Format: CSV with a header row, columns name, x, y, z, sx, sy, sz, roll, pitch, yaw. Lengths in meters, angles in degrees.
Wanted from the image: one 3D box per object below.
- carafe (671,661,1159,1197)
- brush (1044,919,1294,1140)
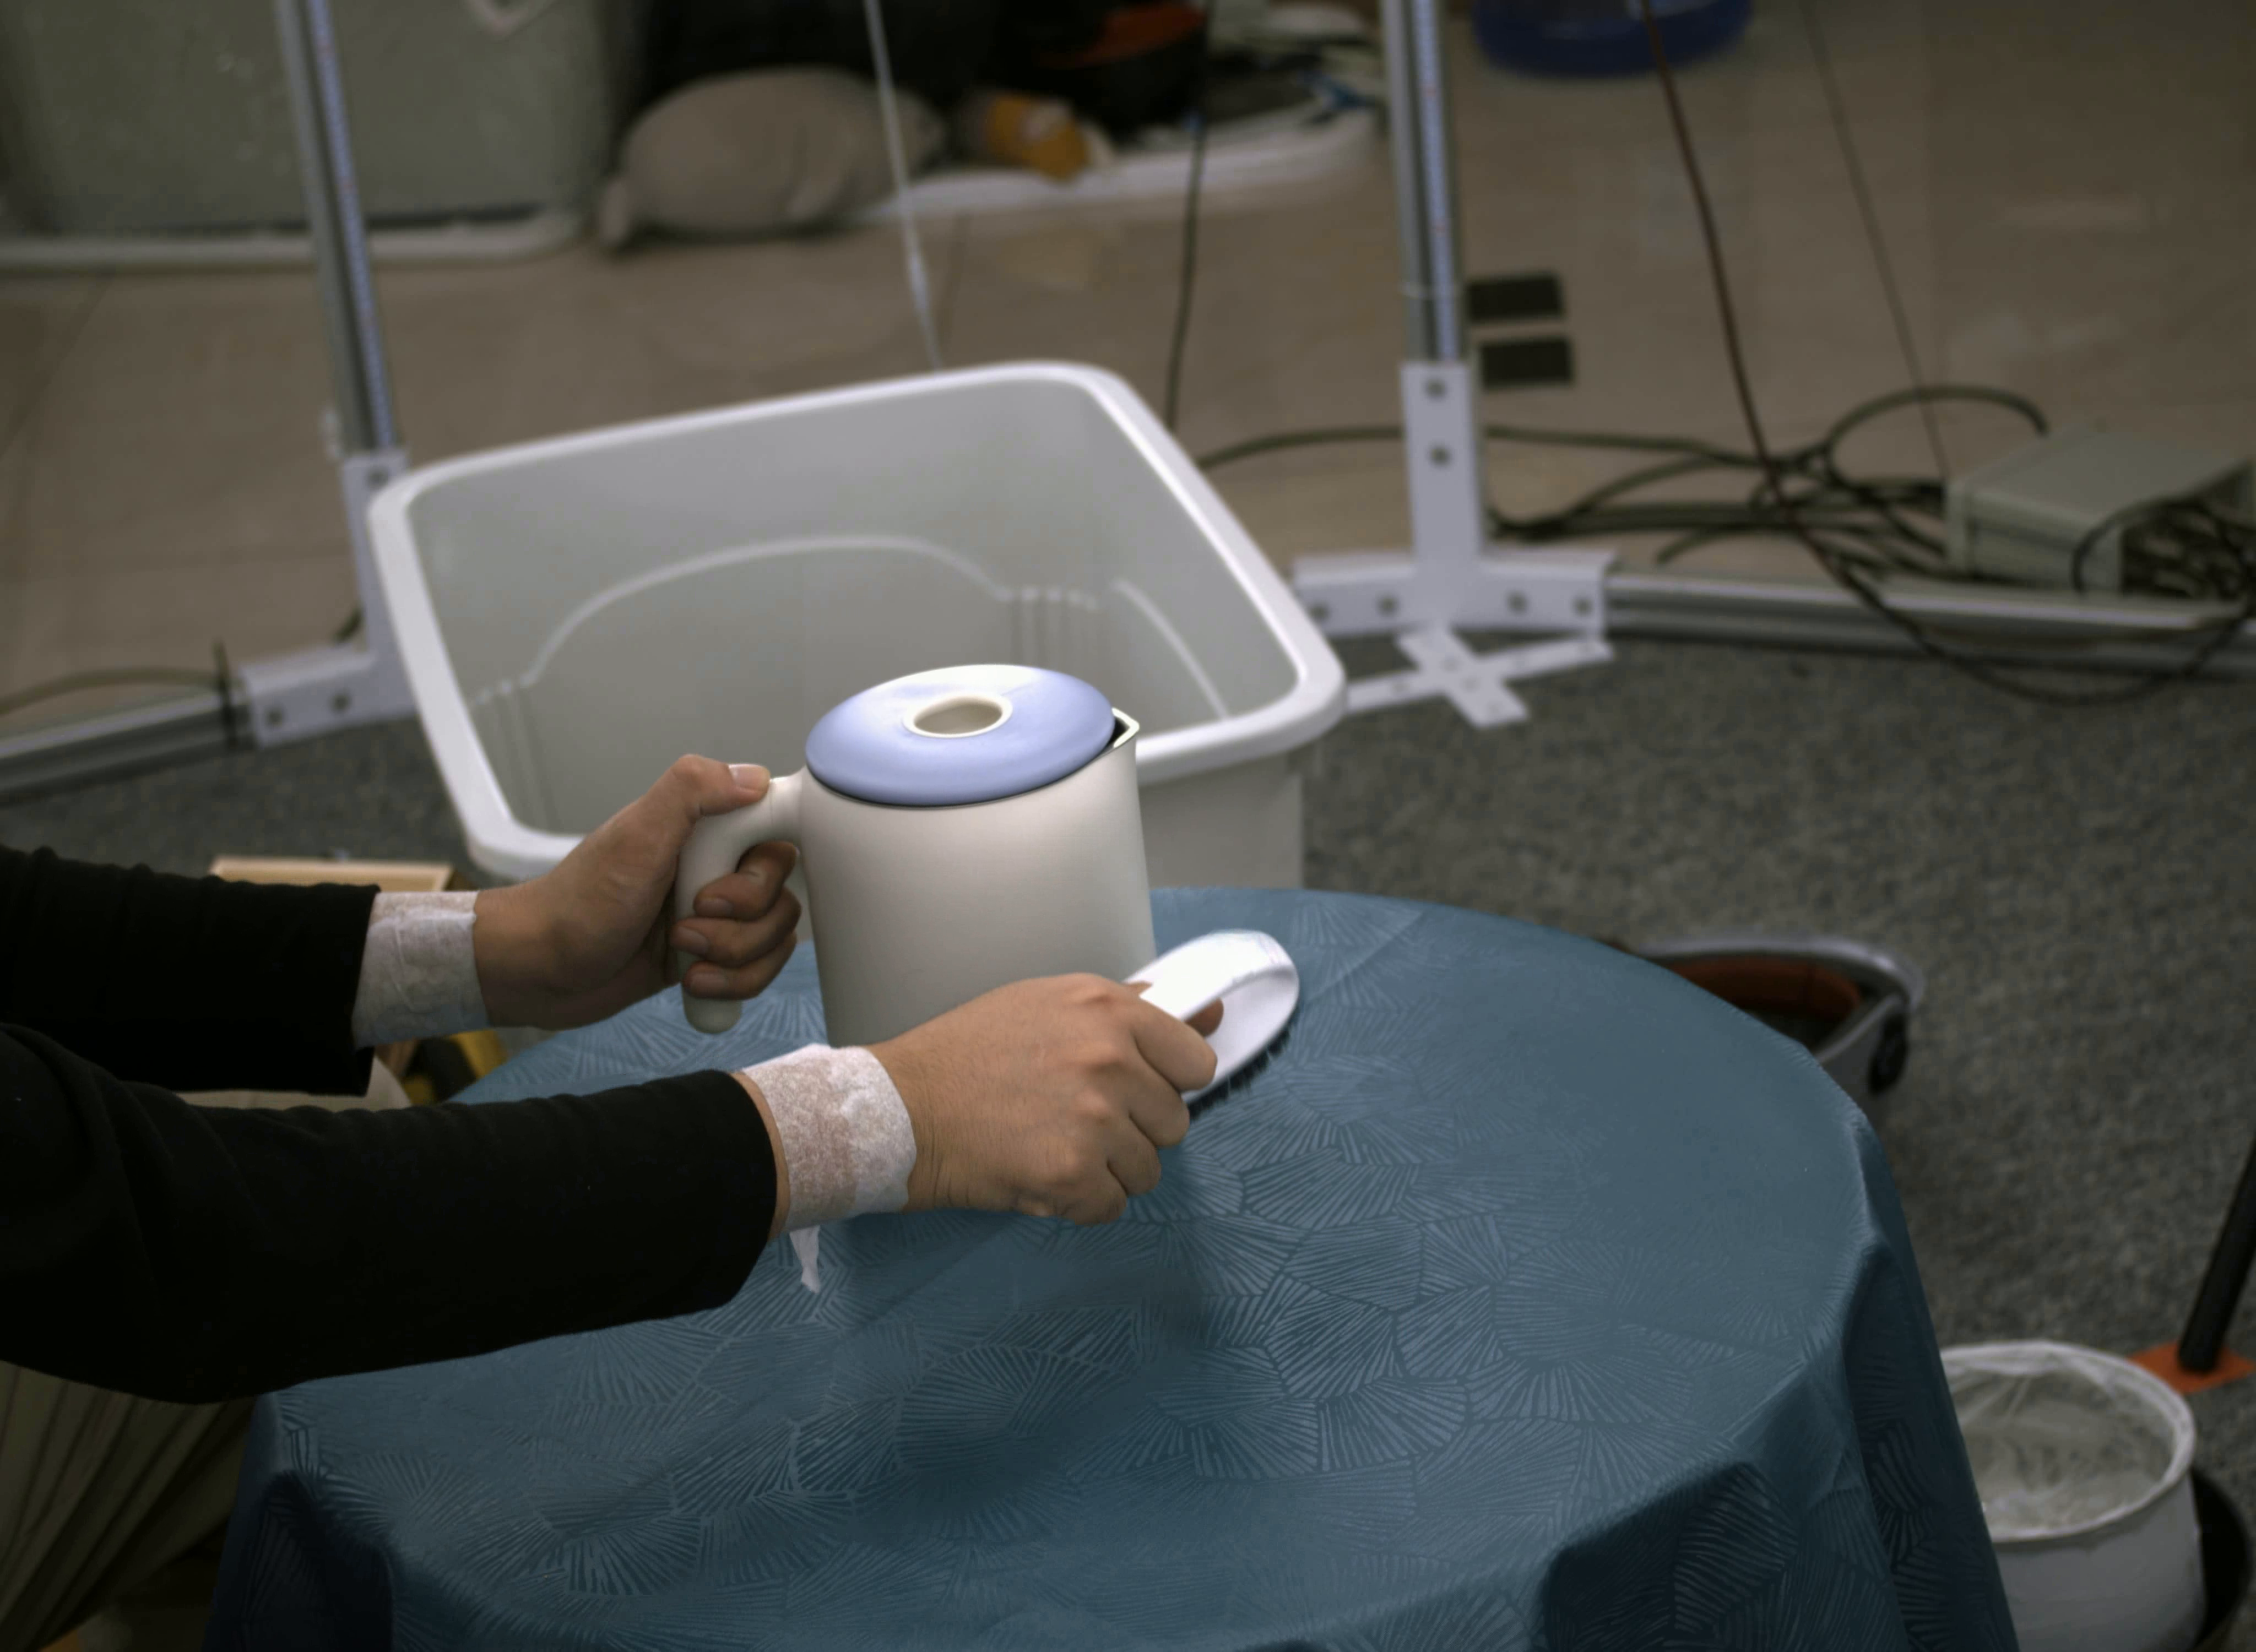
name,x,y,z,sx,sy,sz,roll,pitch,yaw
carafe,-0.081,0.042,2.172,0.191,0.185,0.130,-6,25,4
brush,0.015,0.069,2.033,0.099,0.073,0.050,-32,77,-11
